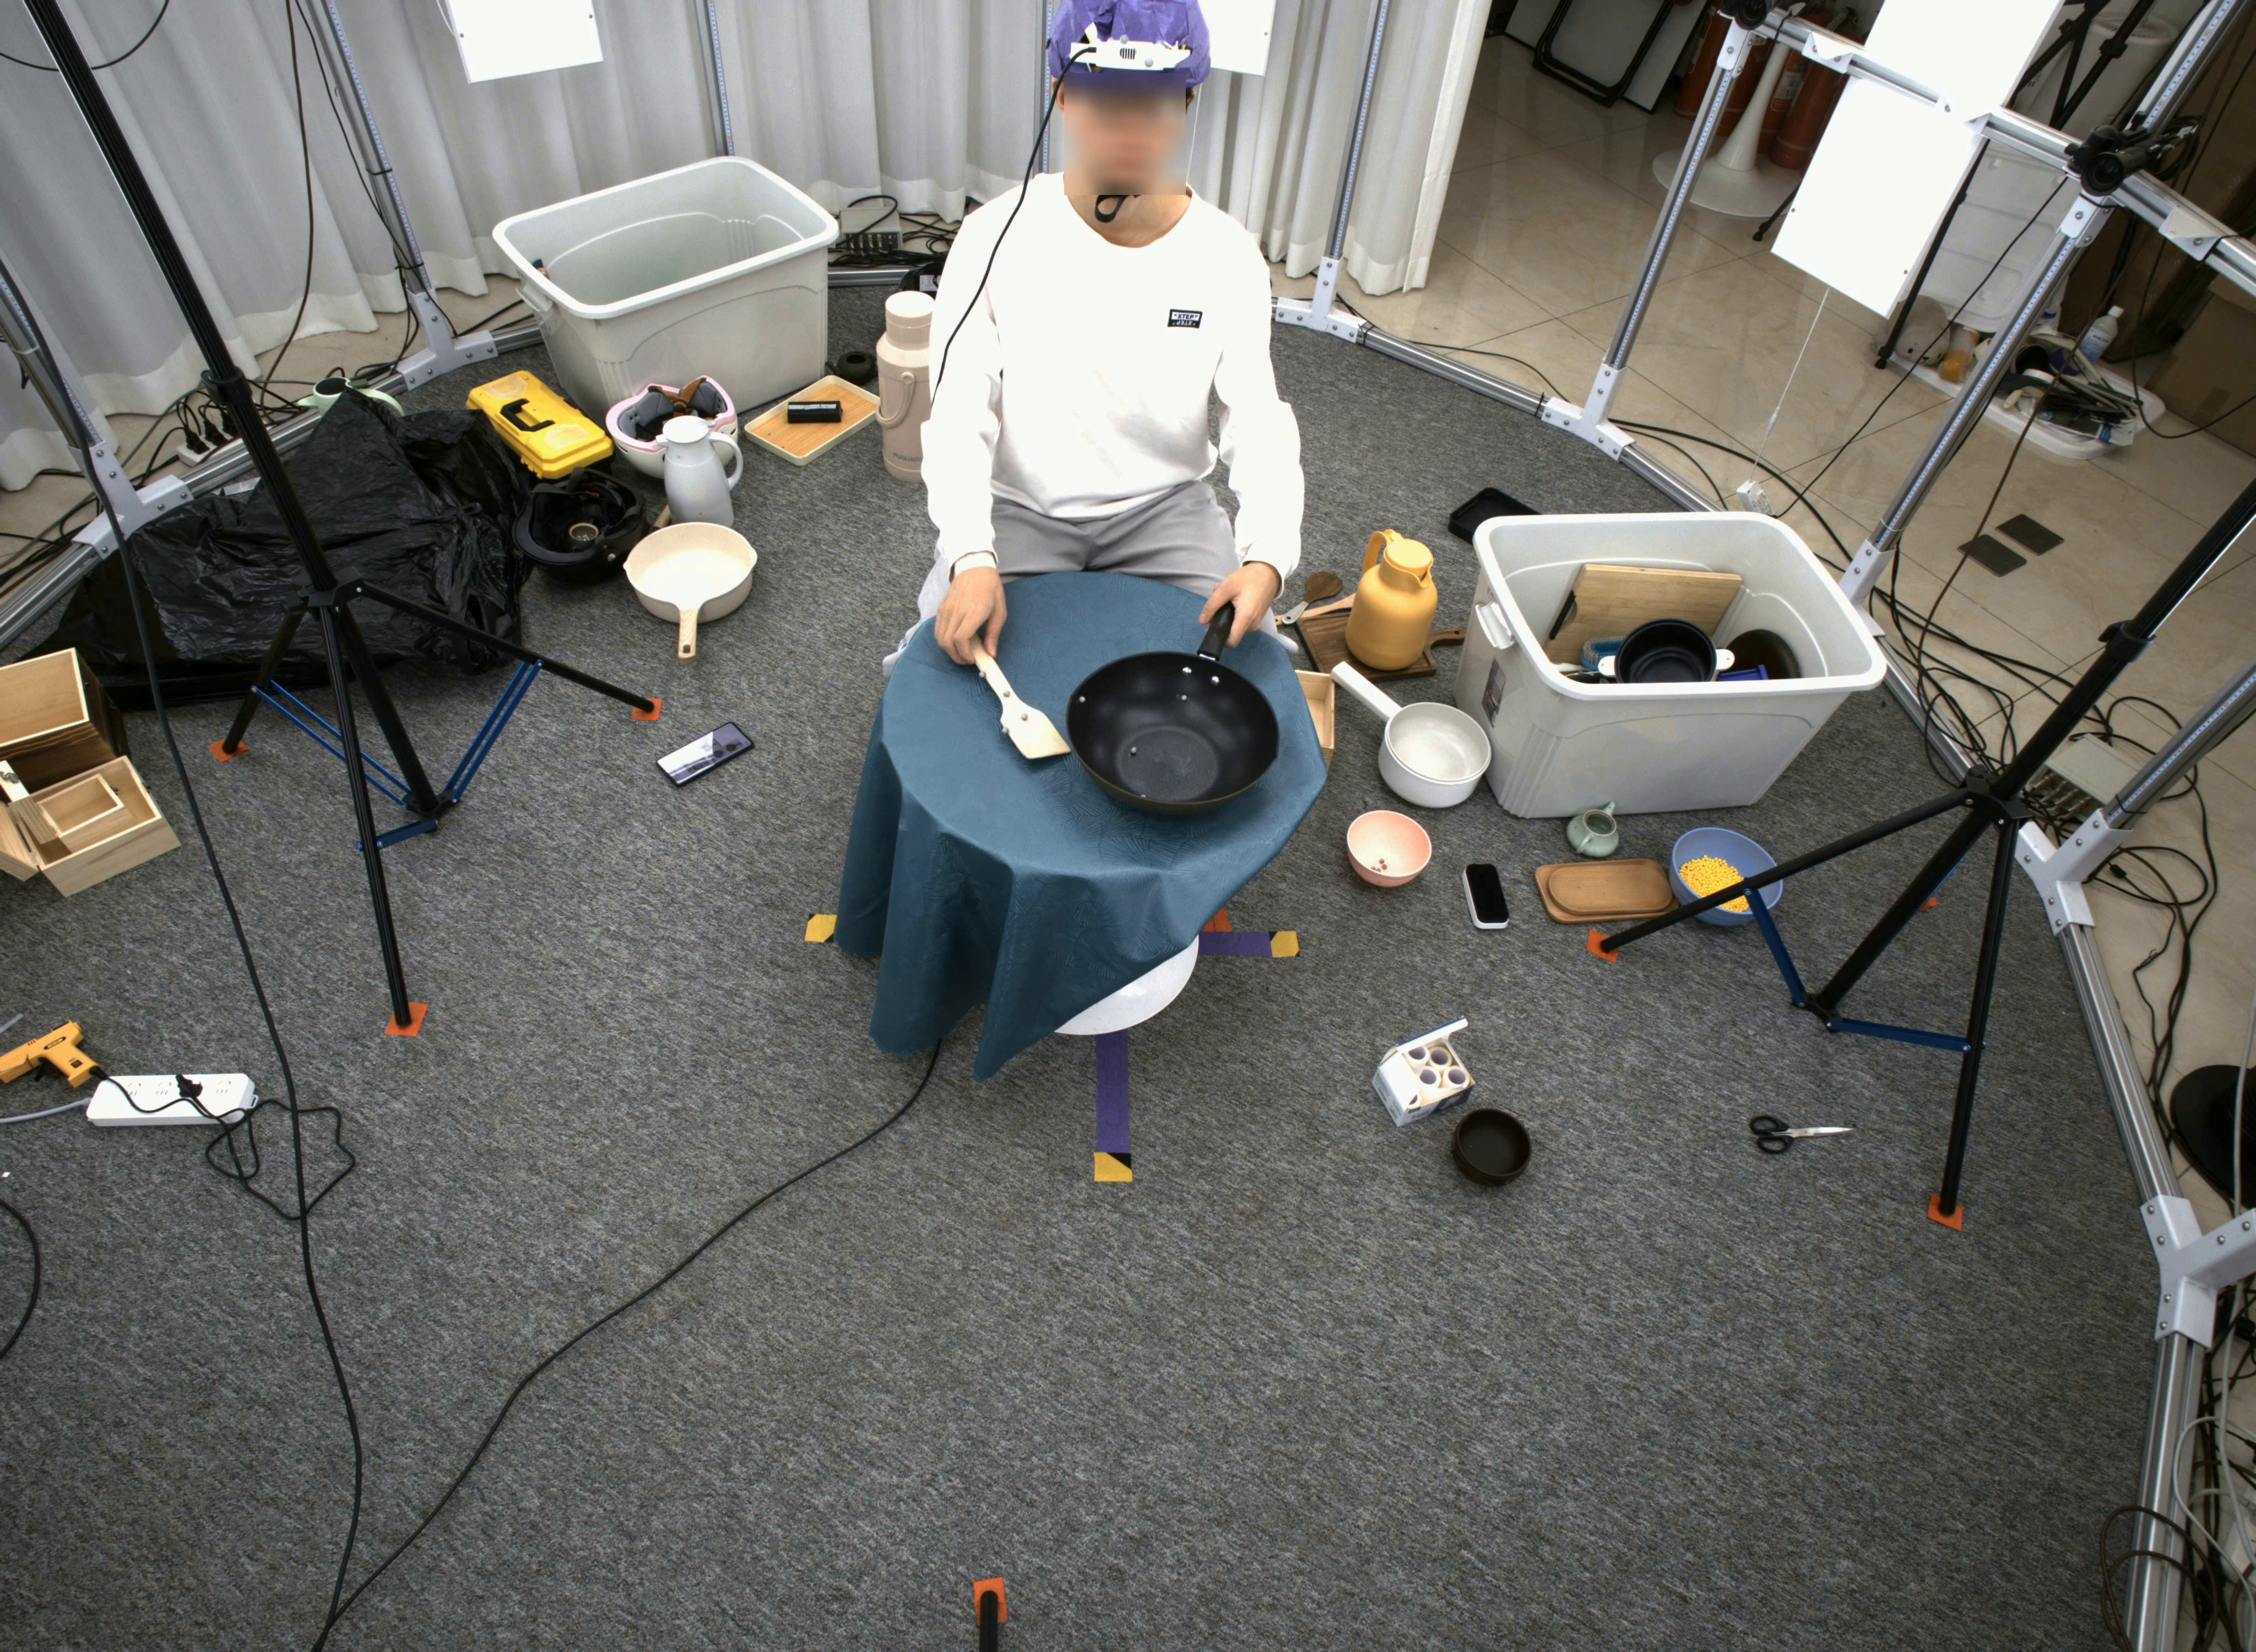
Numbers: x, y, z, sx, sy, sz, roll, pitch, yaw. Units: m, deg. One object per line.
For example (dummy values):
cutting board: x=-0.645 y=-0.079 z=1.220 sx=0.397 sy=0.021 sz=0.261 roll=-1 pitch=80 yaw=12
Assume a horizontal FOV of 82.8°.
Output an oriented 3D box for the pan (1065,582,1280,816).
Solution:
pan: x=0.088 y=-0.174 z=1.767 sx=0.289 sy=0.085 sz=0.472 roll=18 pitch=49 yaw=11

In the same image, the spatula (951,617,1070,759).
spatula: x=-0.178 y=-0.199 z=1.806 sx=0.072 sy=0.010 sz=0.299 roll=-14 pitch=53 yaw=-30
